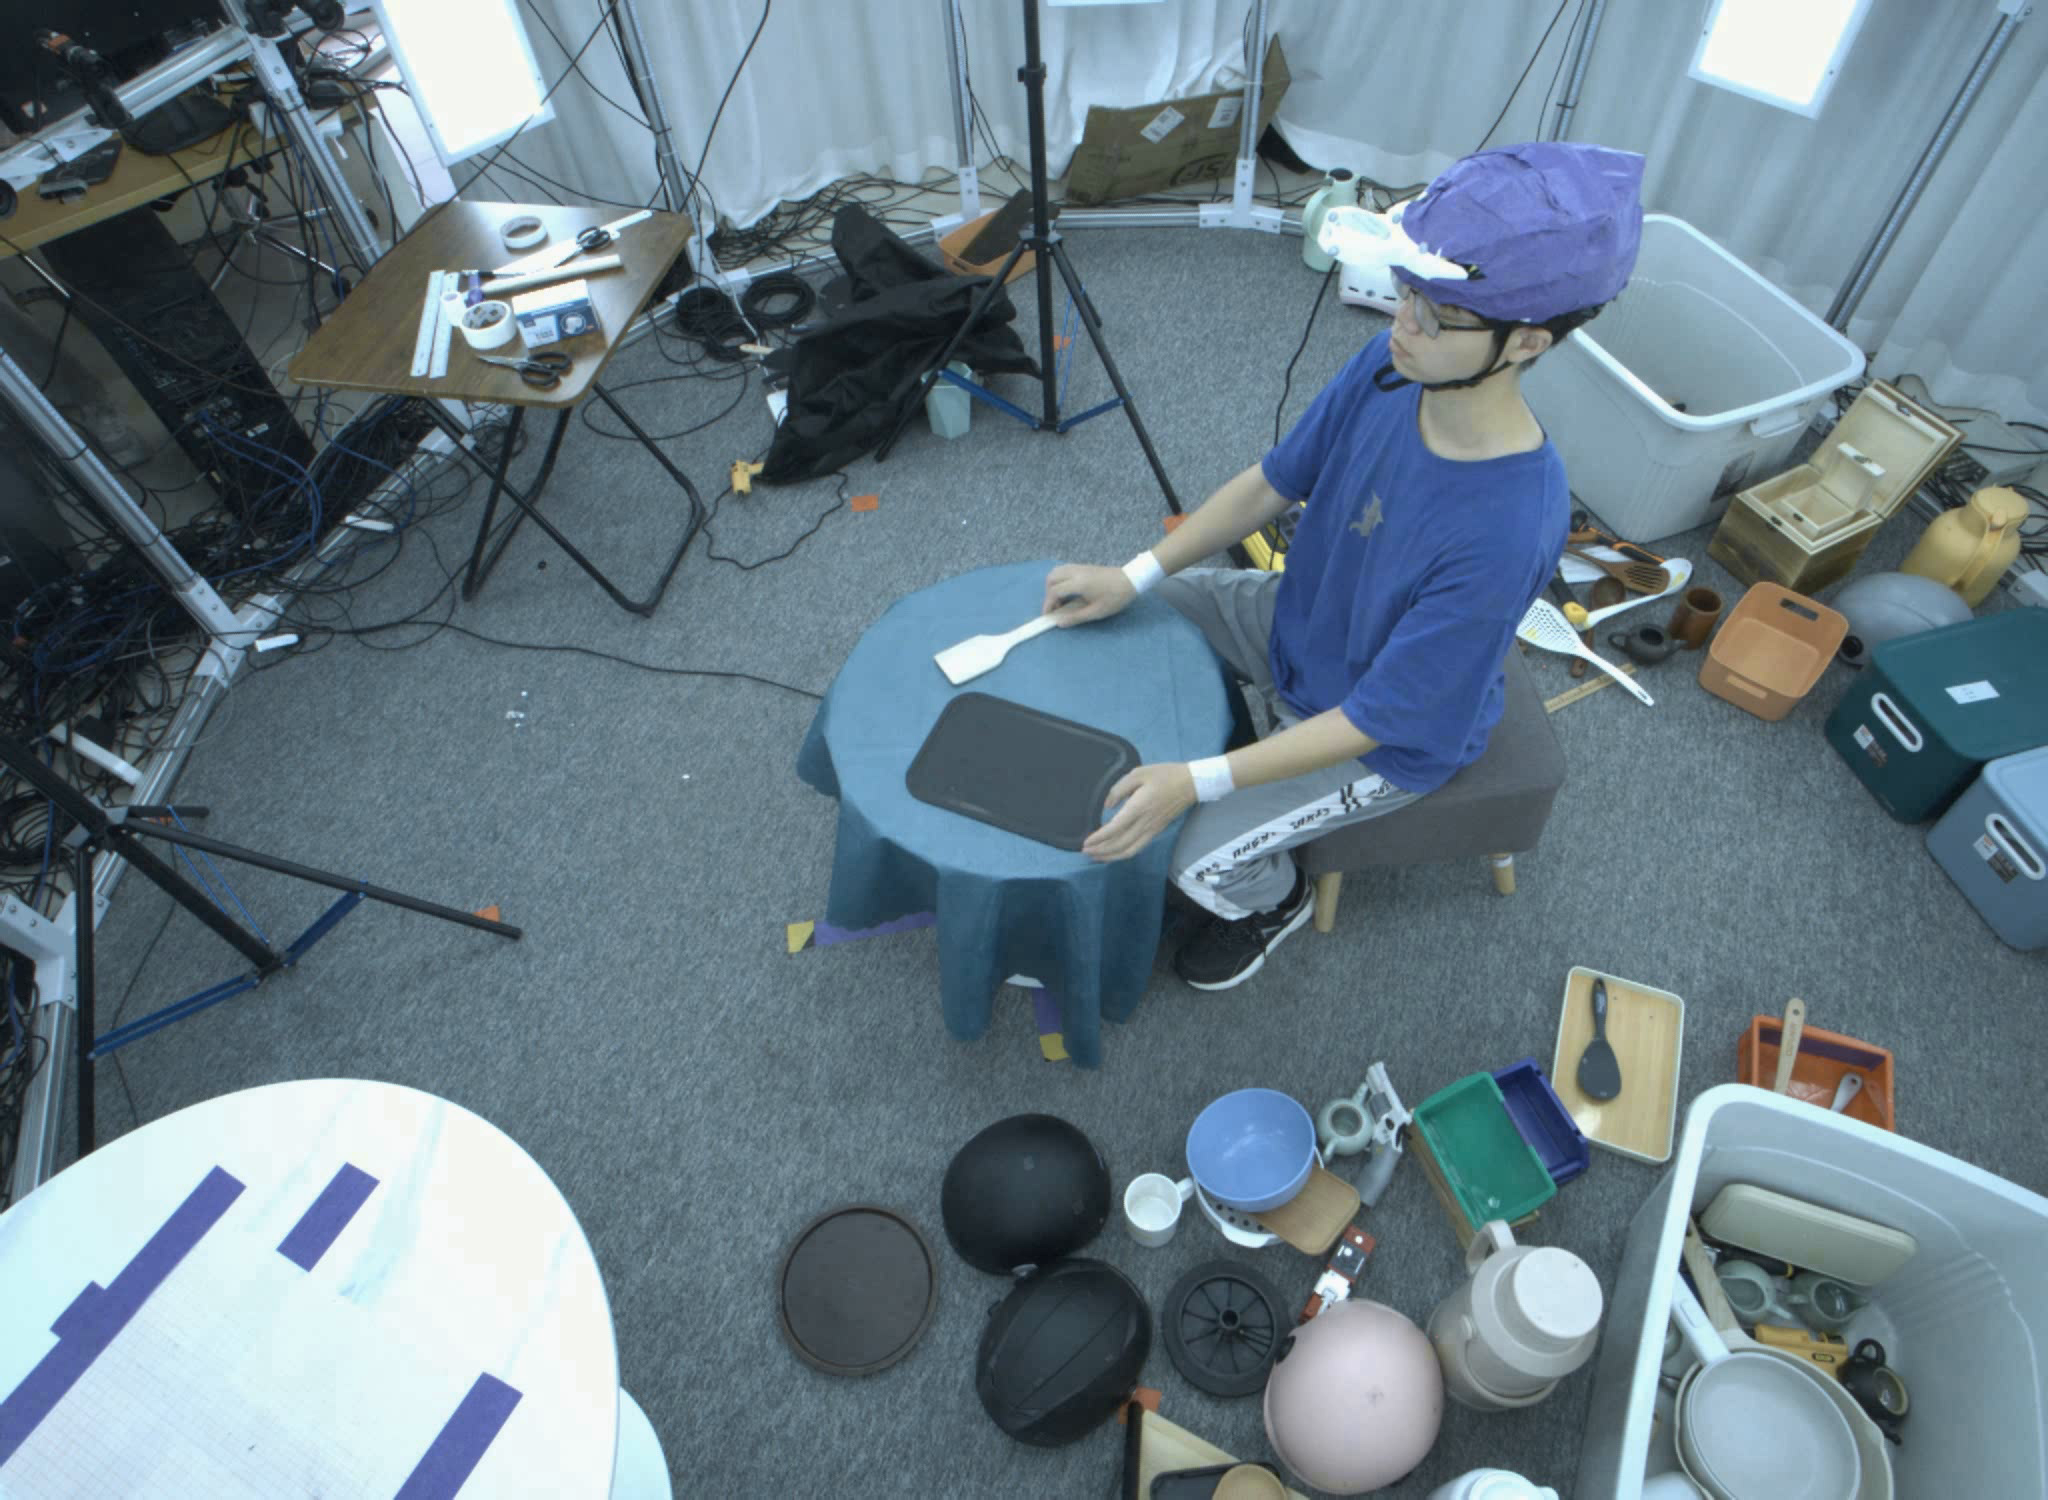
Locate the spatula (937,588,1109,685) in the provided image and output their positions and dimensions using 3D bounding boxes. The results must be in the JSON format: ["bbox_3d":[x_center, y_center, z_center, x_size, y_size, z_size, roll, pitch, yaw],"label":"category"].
[{"bbox_3d":[0.005,-0.185,1.904,0.295,0.011,0.071,-28,57,-16],"label":"spatula"}]

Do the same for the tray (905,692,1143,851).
[{"bbox_3d":[0.006,0.027,1.753,0.321,0.010,0.211,19,57,15],"label":"tray"}]
